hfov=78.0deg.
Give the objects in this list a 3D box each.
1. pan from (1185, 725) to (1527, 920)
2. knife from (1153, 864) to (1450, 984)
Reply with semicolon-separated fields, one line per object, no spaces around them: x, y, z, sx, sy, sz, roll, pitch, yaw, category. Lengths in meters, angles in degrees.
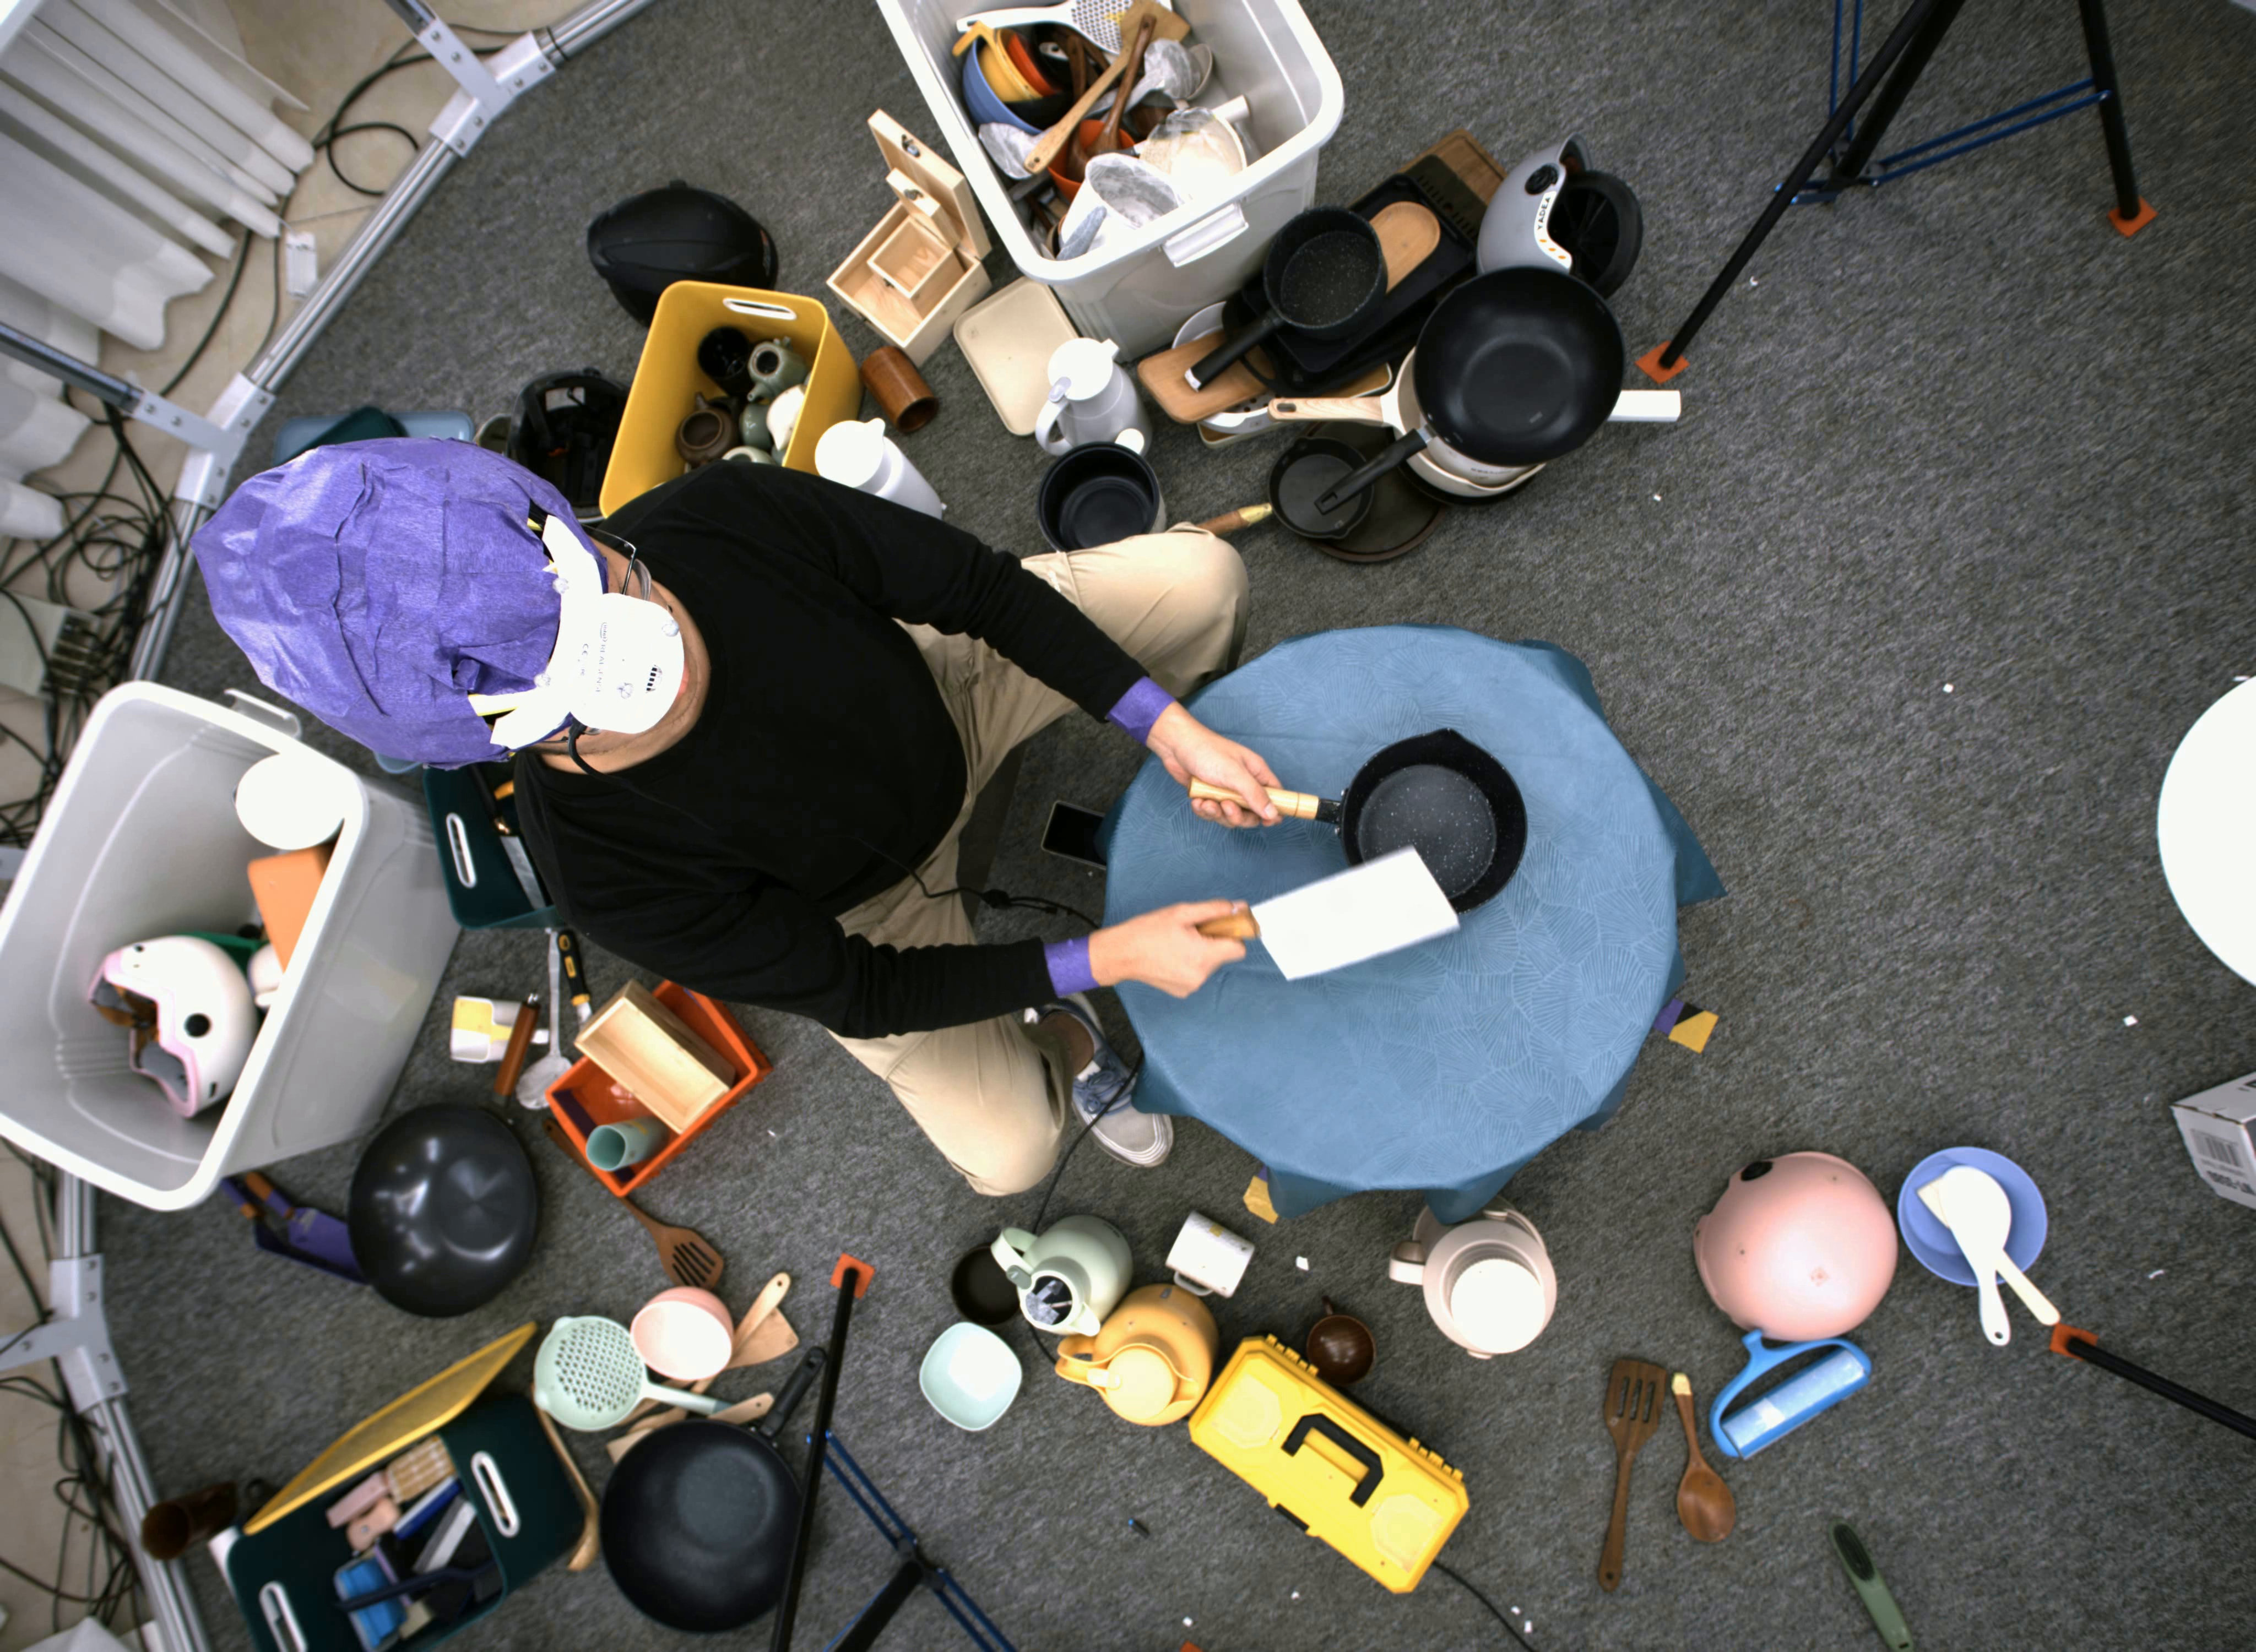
0.229;-0.009;1.413;0.343;0.108;0.207;8;88;8;pan
0.165;0.111;1.347;0.310;0.020;0.094;-21;116;34;knife
